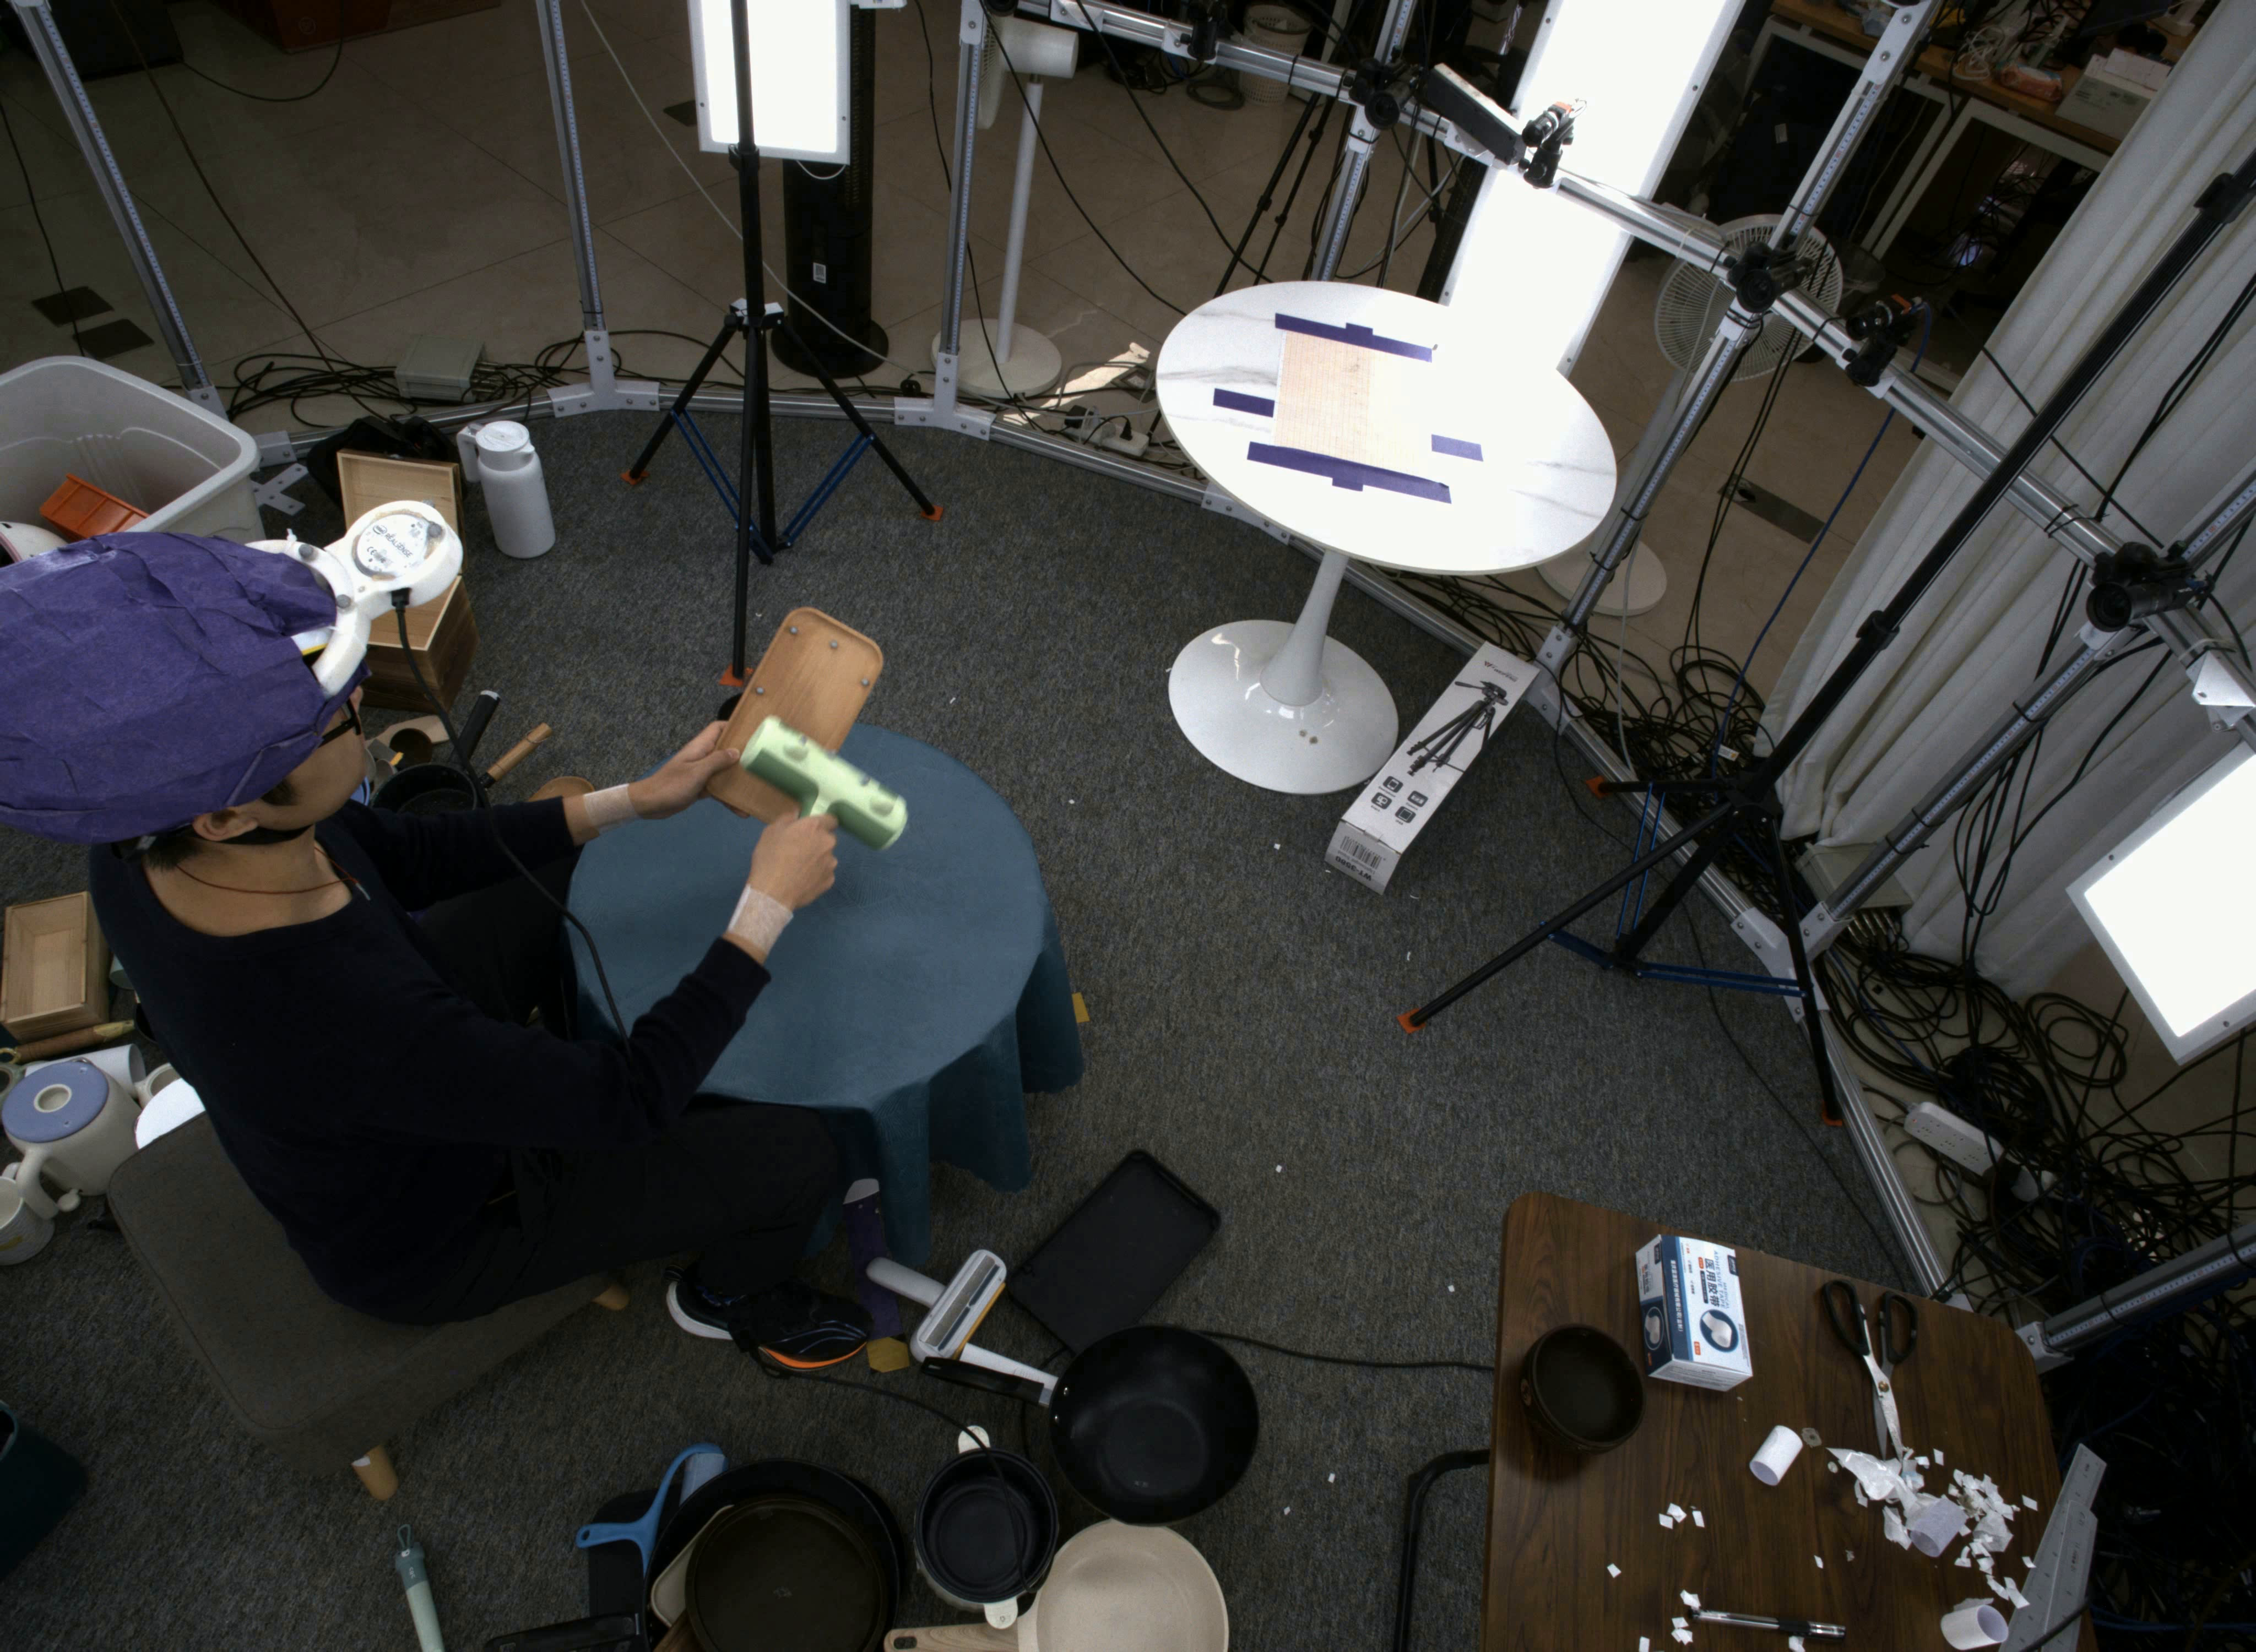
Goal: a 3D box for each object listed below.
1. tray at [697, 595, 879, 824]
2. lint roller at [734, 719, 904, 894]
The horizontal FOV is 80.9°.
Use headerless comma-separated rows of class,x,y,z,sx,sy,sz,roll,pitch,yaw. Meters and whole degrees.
tray,-0.393,-0.135,1.502,0.132,0.022,0.251,28,82,-16
lint roller,-0.339,-0.010,1.409,0.204,0.082,0.179,35,34,-28
